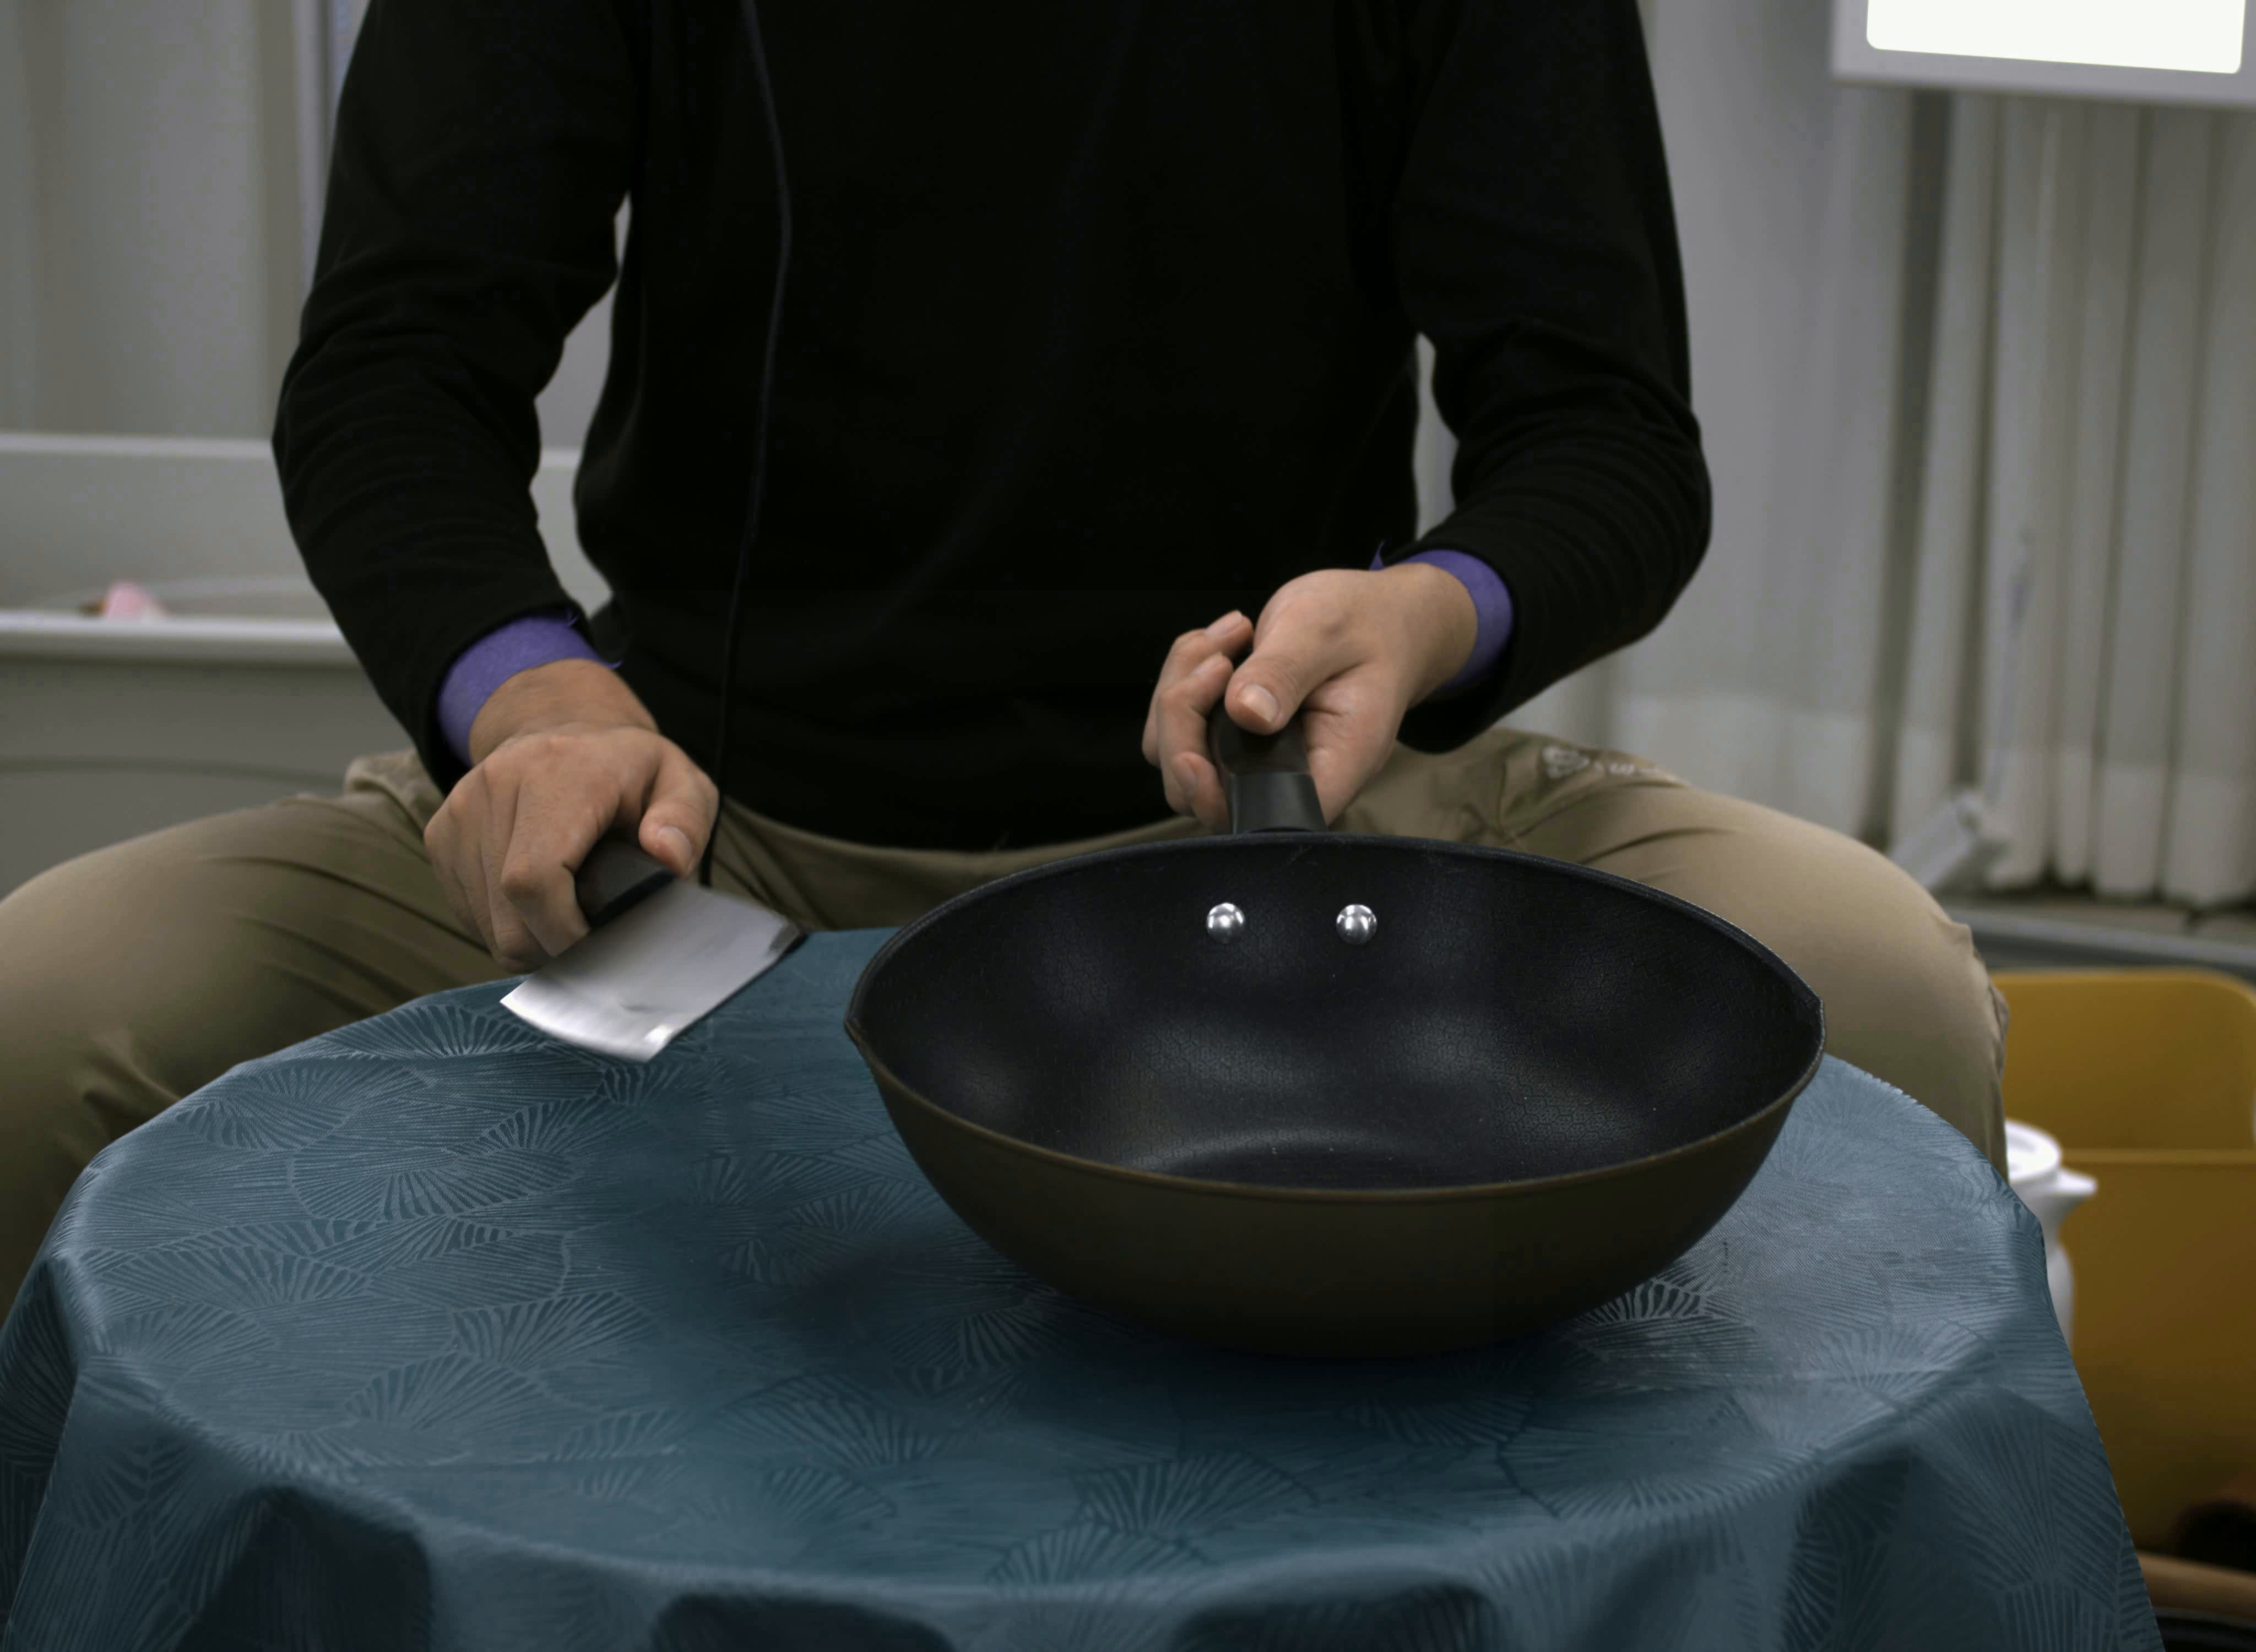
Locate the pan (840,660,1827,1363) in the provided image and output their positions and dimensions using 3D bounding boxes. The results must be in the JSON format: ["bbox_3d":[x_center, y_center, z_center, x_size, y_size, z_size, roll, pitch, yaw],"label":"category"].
[{"bbox_3d":[0.053,0.056,1.625,0.287,0.087,0.459,0,20,-4],"label":"pan"}]

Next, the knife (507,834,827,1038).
[{"bbox_3d":[-0.153,0.032,1.602,0.081,0.021,0.300,-38,14,-9],"label":"knife"}]
